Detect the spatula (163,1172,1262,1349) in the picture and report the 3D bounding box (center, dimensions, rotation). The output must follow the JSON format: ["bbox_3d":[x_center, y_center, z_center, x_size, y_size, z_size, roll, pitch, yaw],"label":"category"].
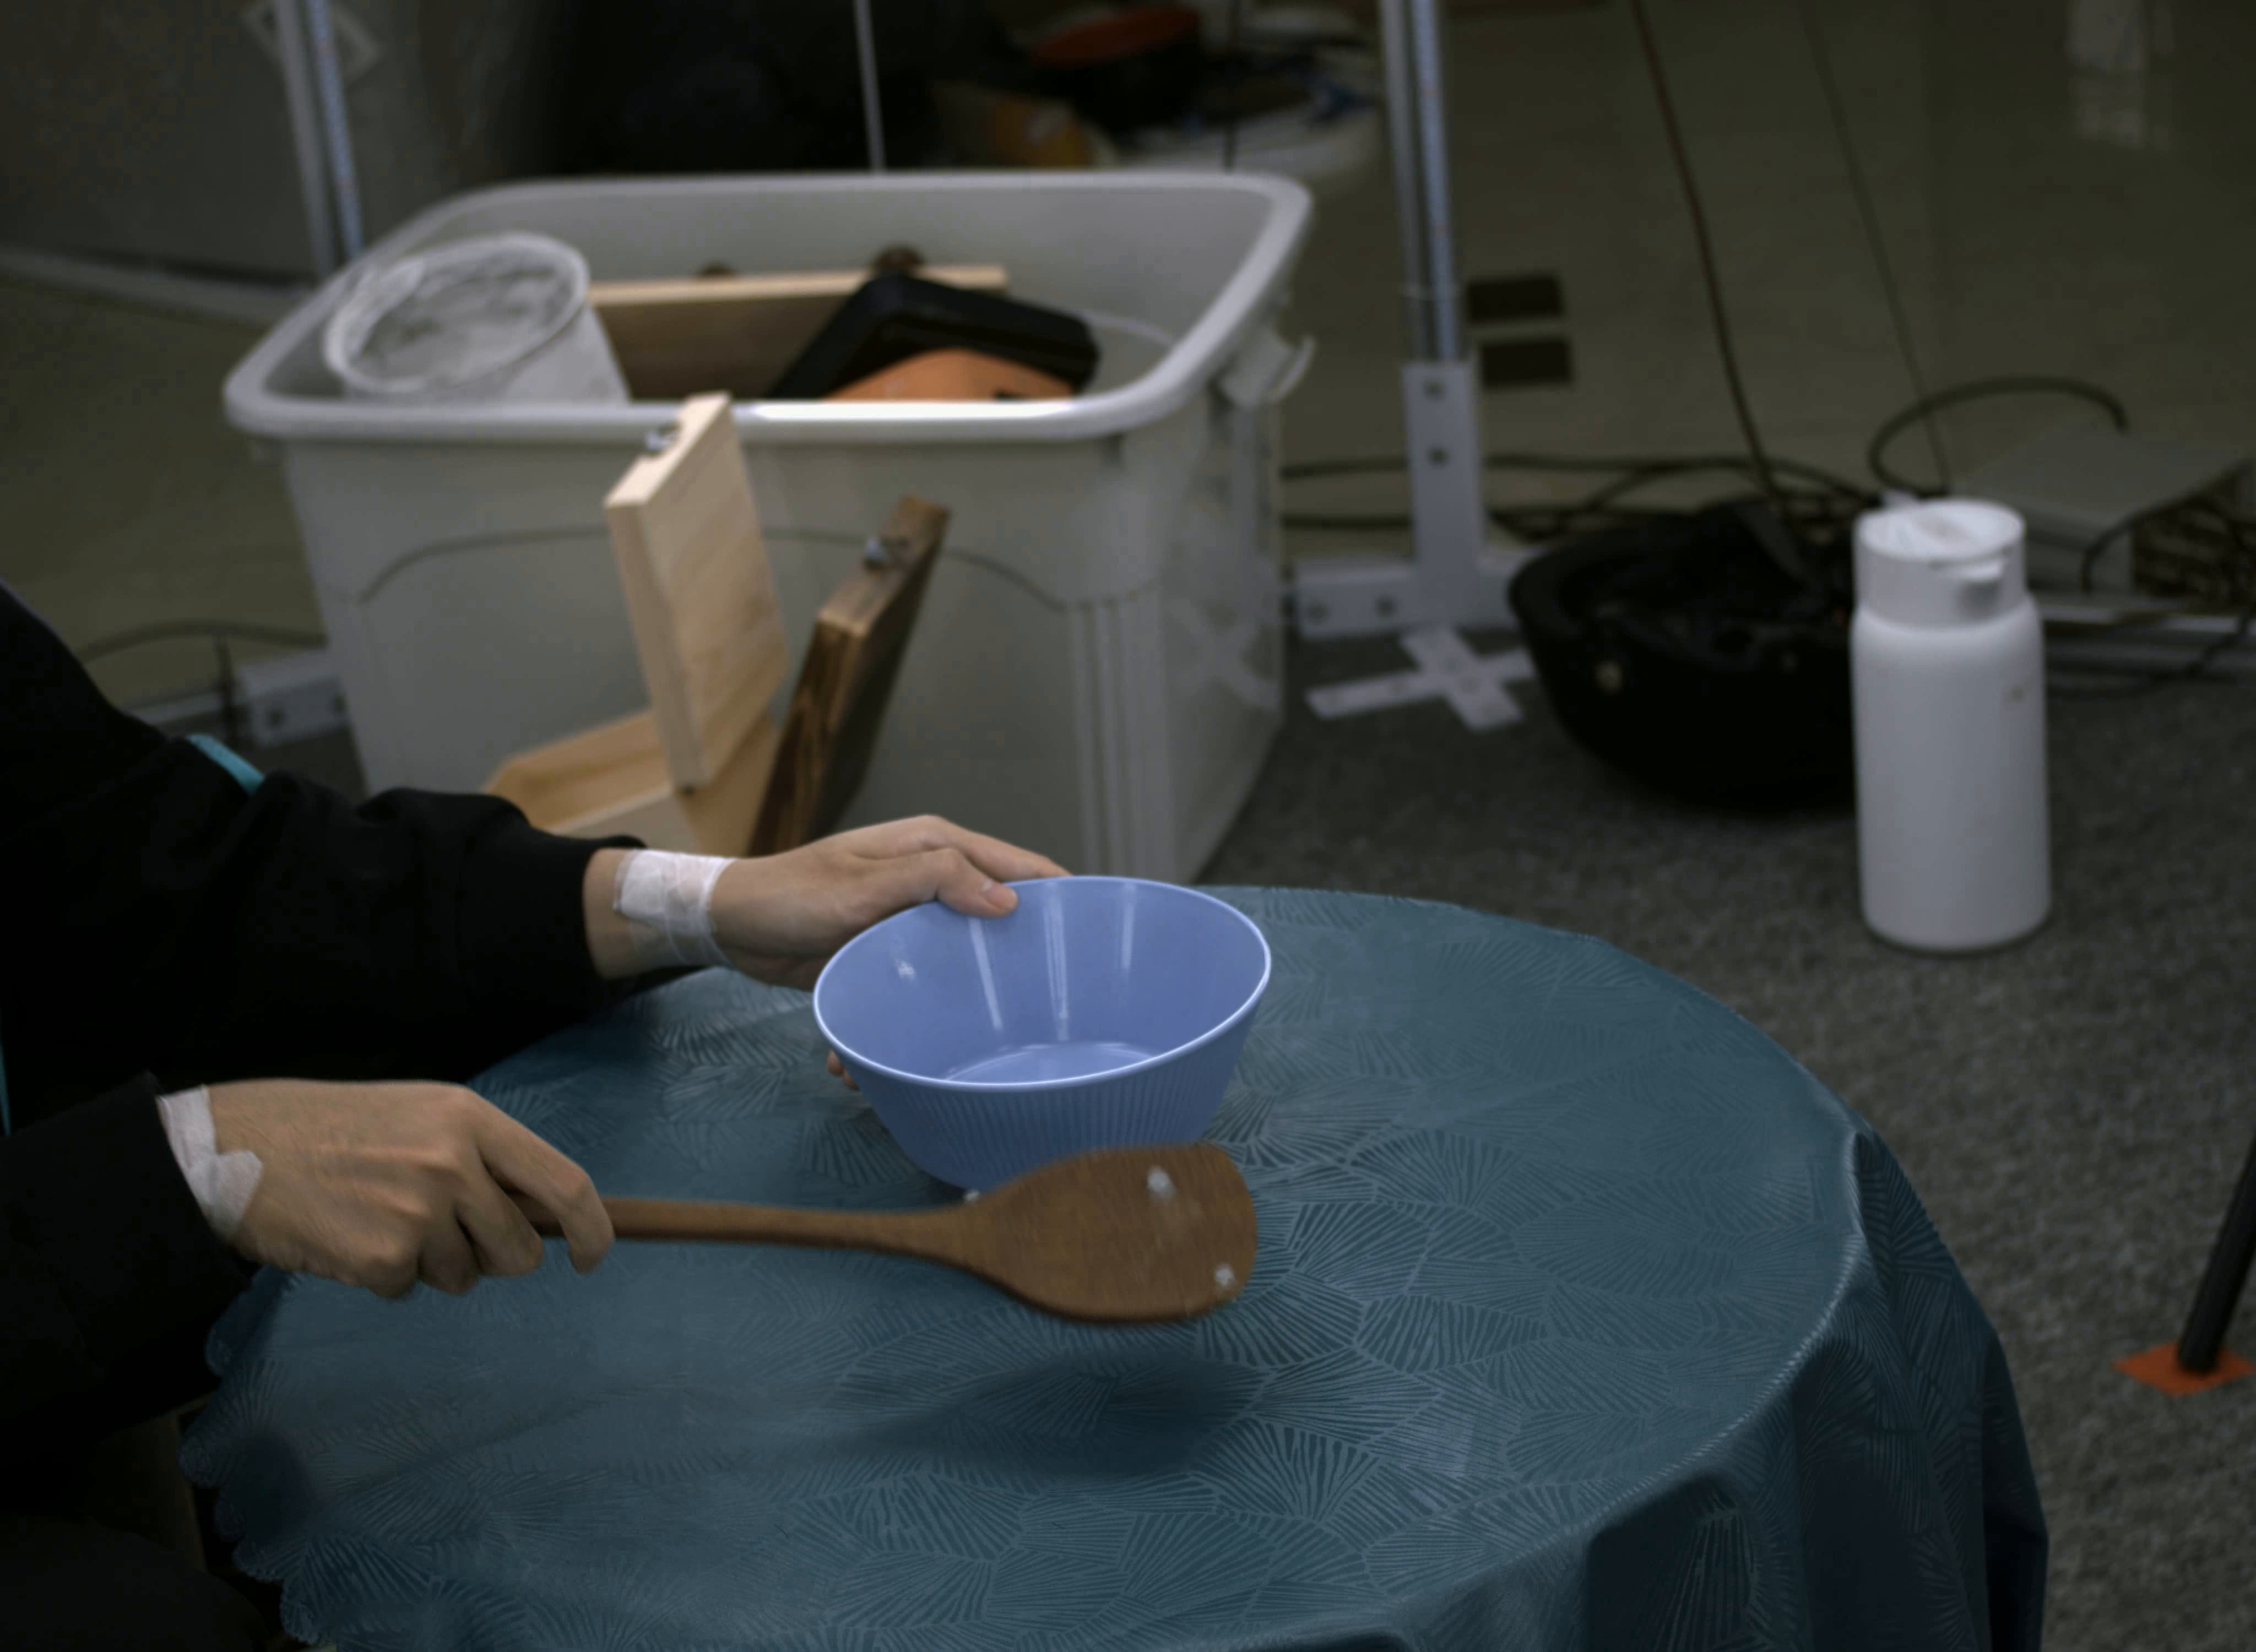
[{"bbox_3d":[-0.145,0.145,1.992,0.385,0.016,0.094,3,35,-3],"label":"spatula"}]

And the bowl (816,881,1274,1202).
[{"bbox_3d":[-0.028,0.088,2.162,0.176,0.071,0.173,-6,25,3],"label":"bowl"}]
